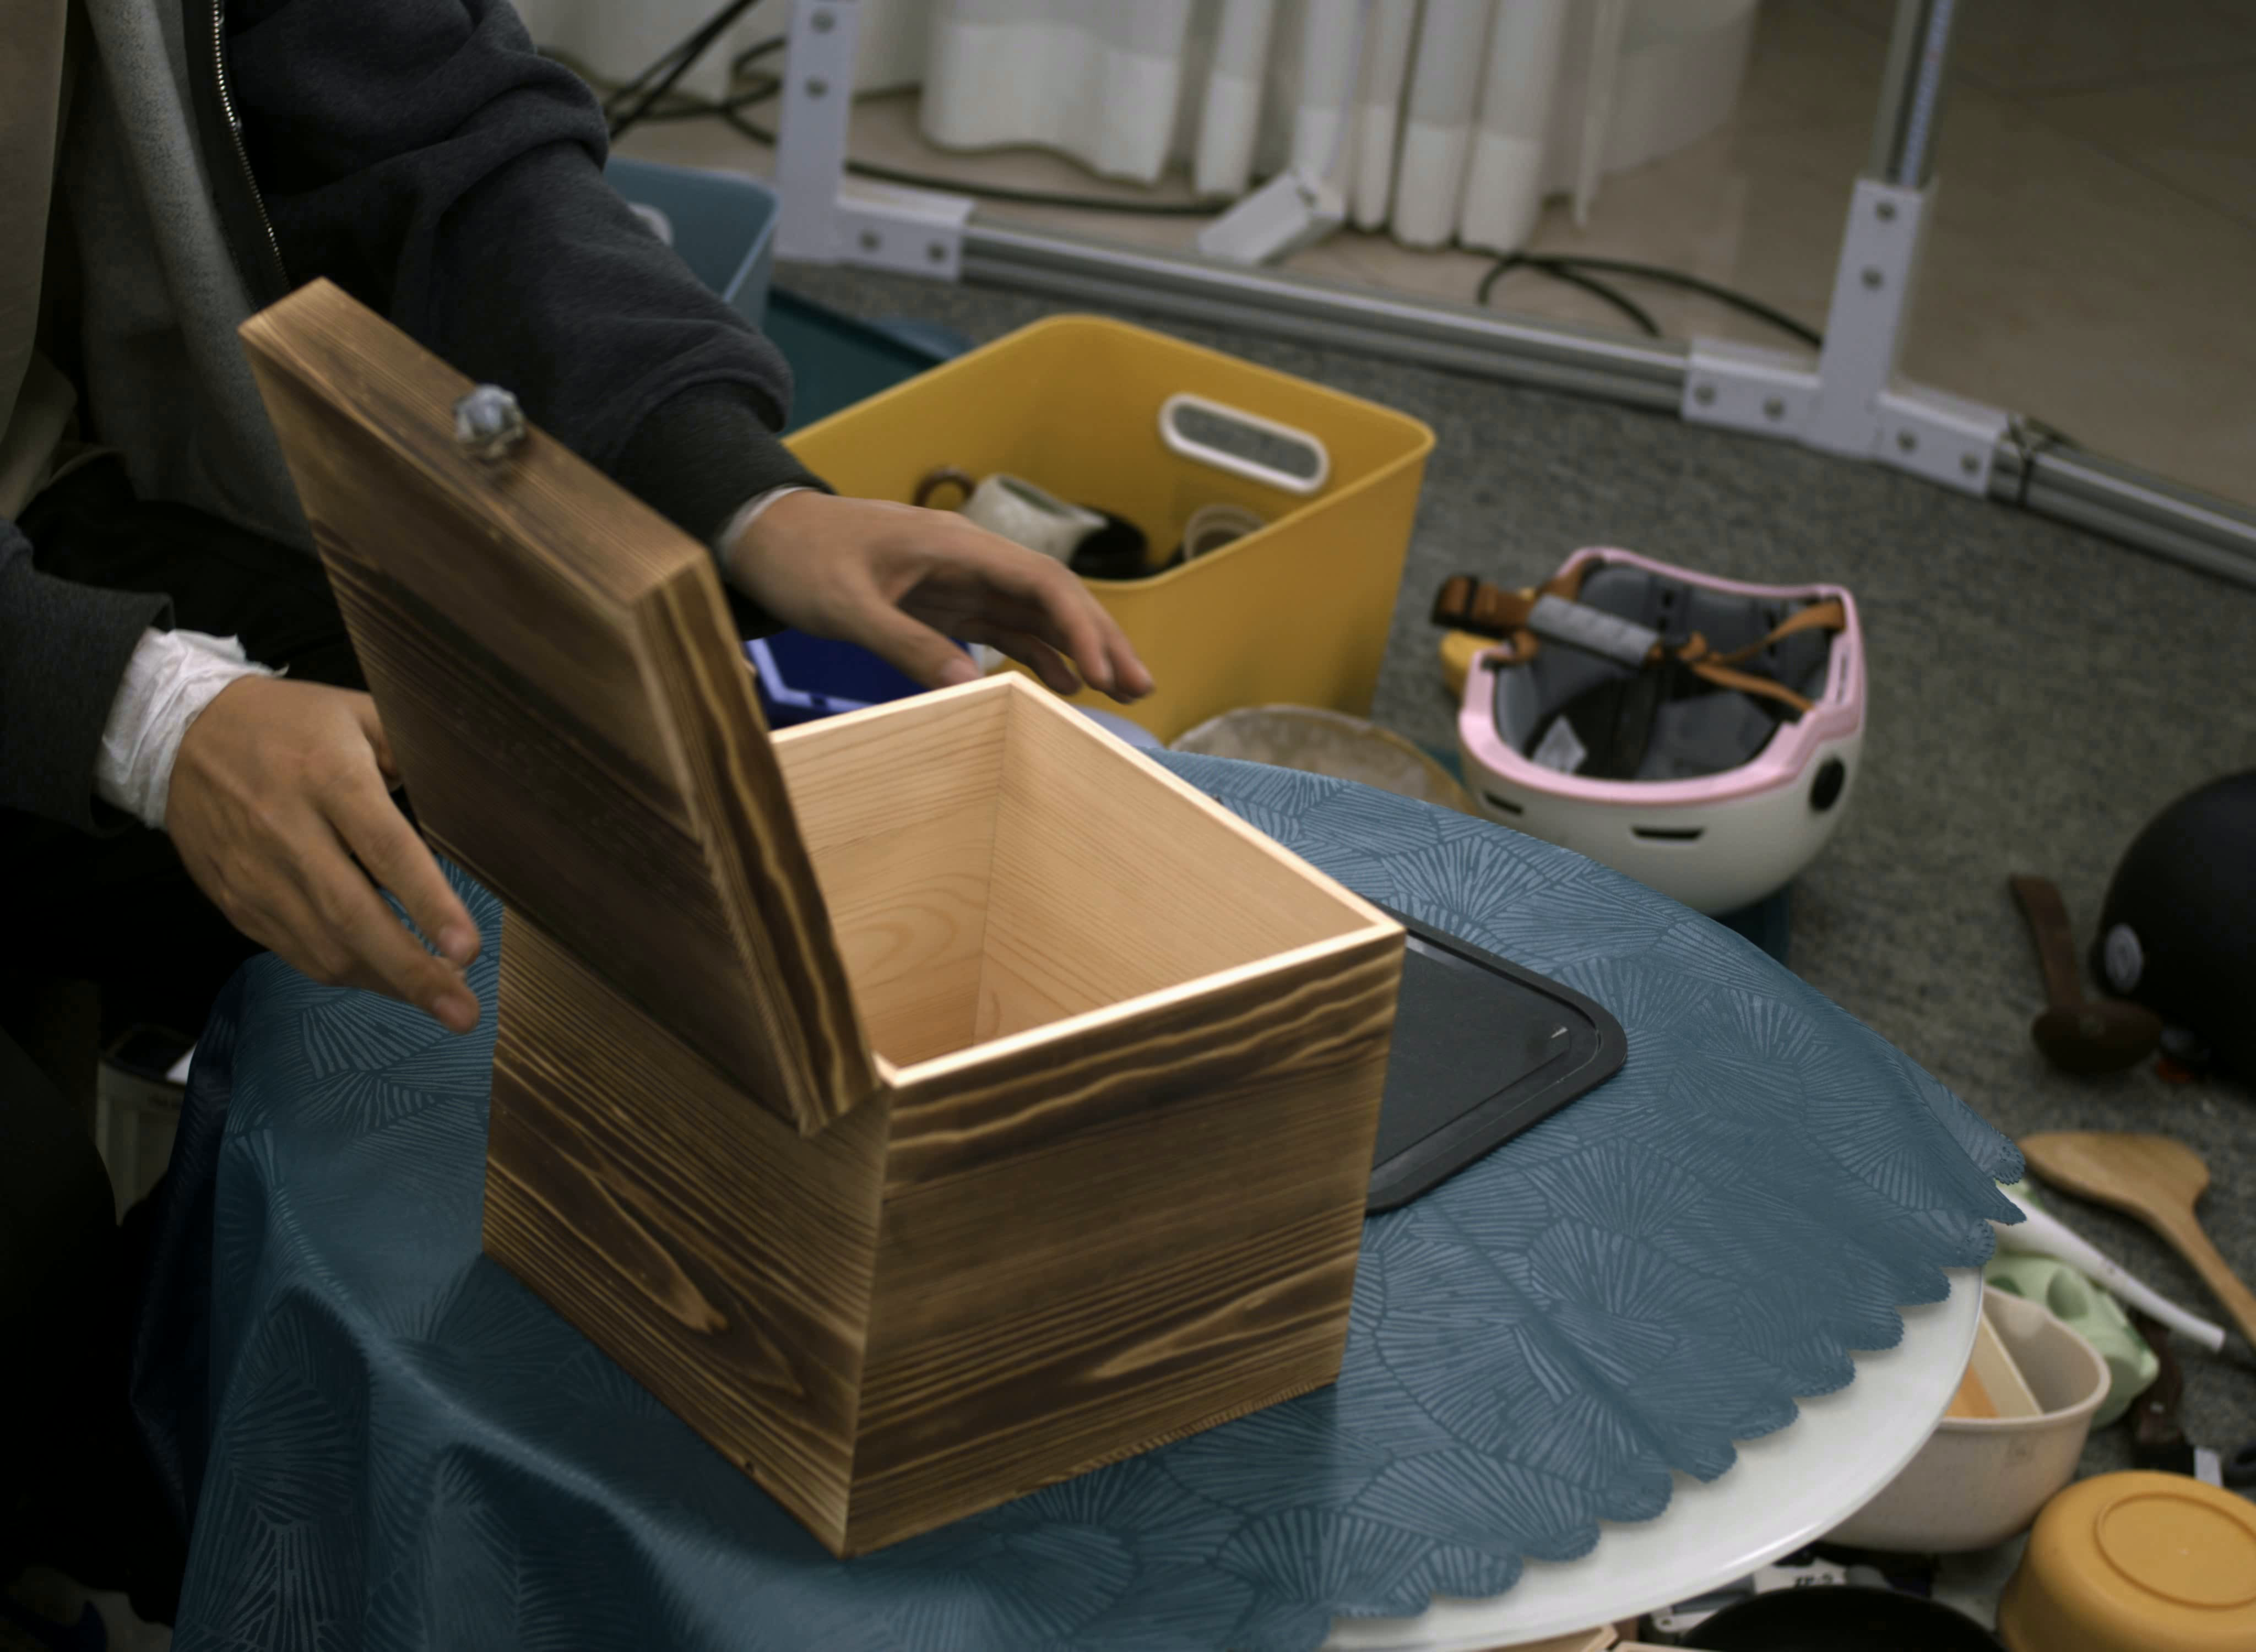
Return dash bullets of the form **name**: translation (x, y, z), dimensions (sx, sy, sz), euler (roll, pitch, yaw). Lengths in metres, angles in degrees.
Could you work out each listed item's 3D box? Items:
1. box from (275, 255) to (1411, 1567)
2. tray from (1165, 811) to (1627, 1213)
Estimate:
- **box**: translation (-0.090, 0.012, 1.605), dimensions (0.320, 0.374, 0.210), euler (-15, 35, -37)
- **tray**: translation (0.008, 0.051, 1.939), dimensions (0.327, 0.010, 0.210), euler (24, 32, 31)
